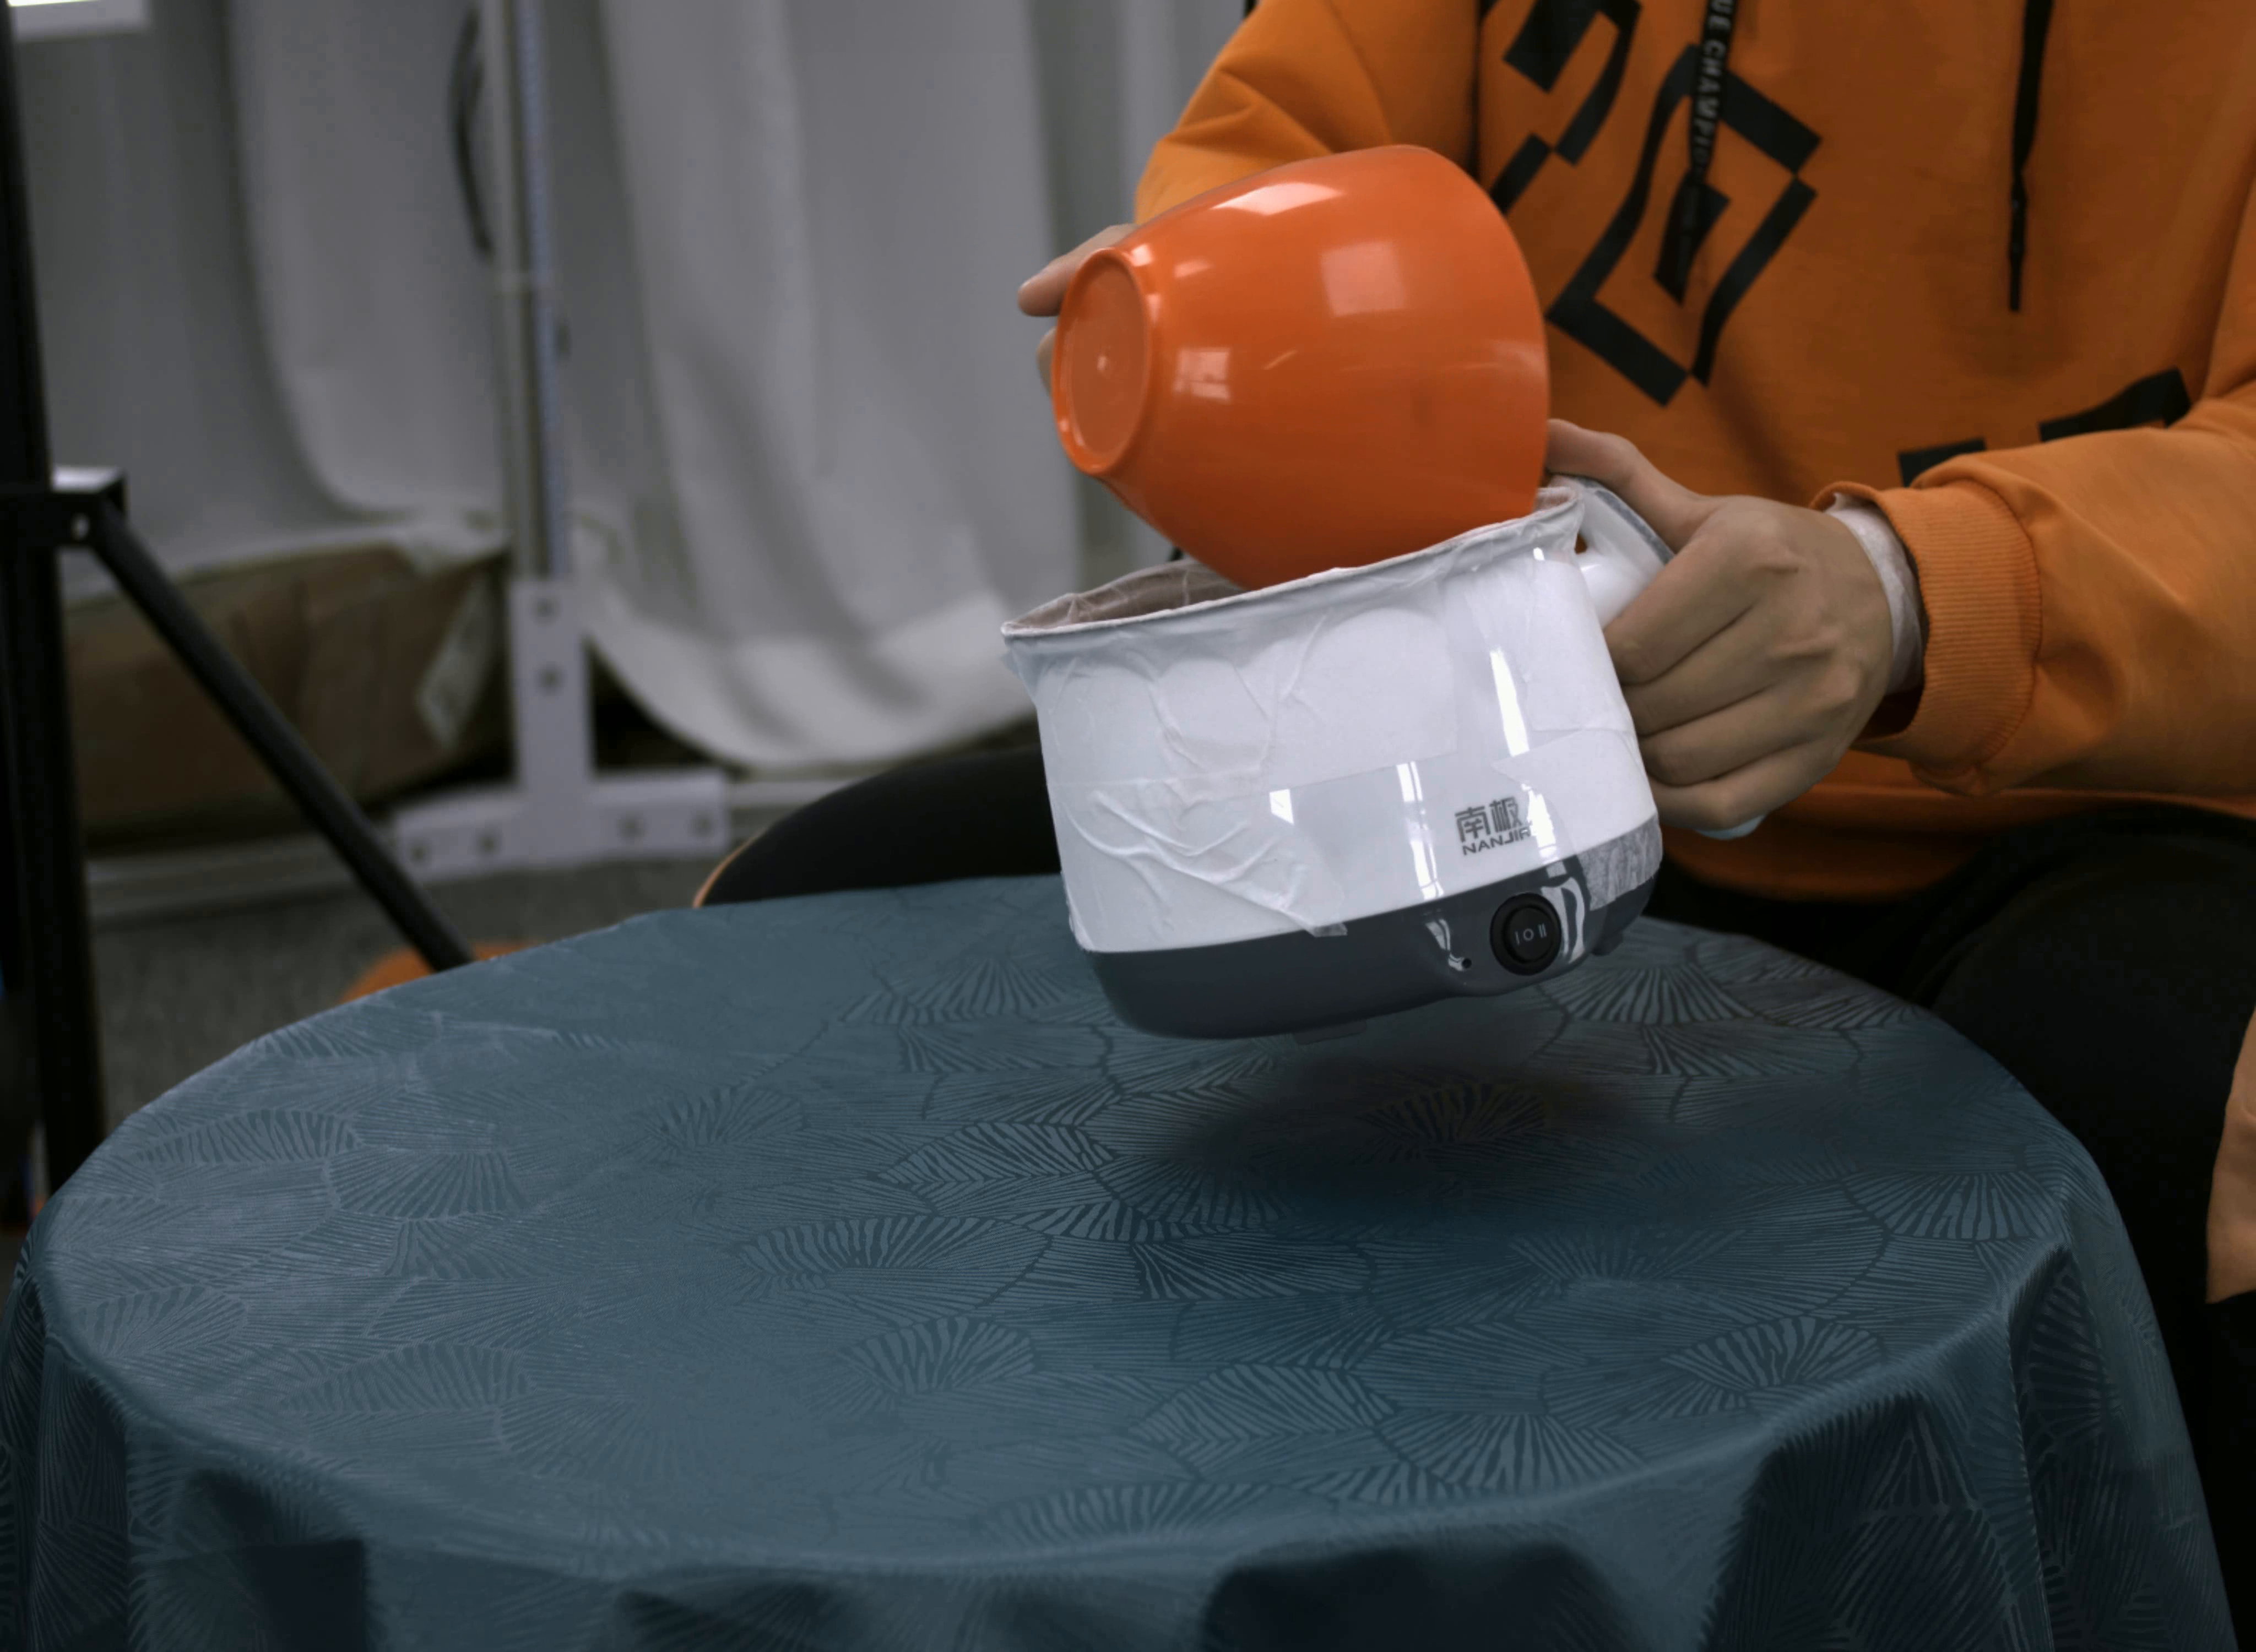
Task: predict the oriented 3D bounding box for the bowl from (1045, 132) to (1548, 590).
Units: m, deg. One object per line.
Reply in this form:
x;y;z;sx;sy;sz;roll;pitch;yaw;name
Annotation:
0.040;-0.130;1.555;0.102;0.148;0.151;1;13;-27;bowl

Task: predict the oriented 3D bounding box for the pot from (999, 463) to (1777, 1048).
0.086;-0.024;1.584;0.229;0.137;0.182;-17;8;-27;pot
